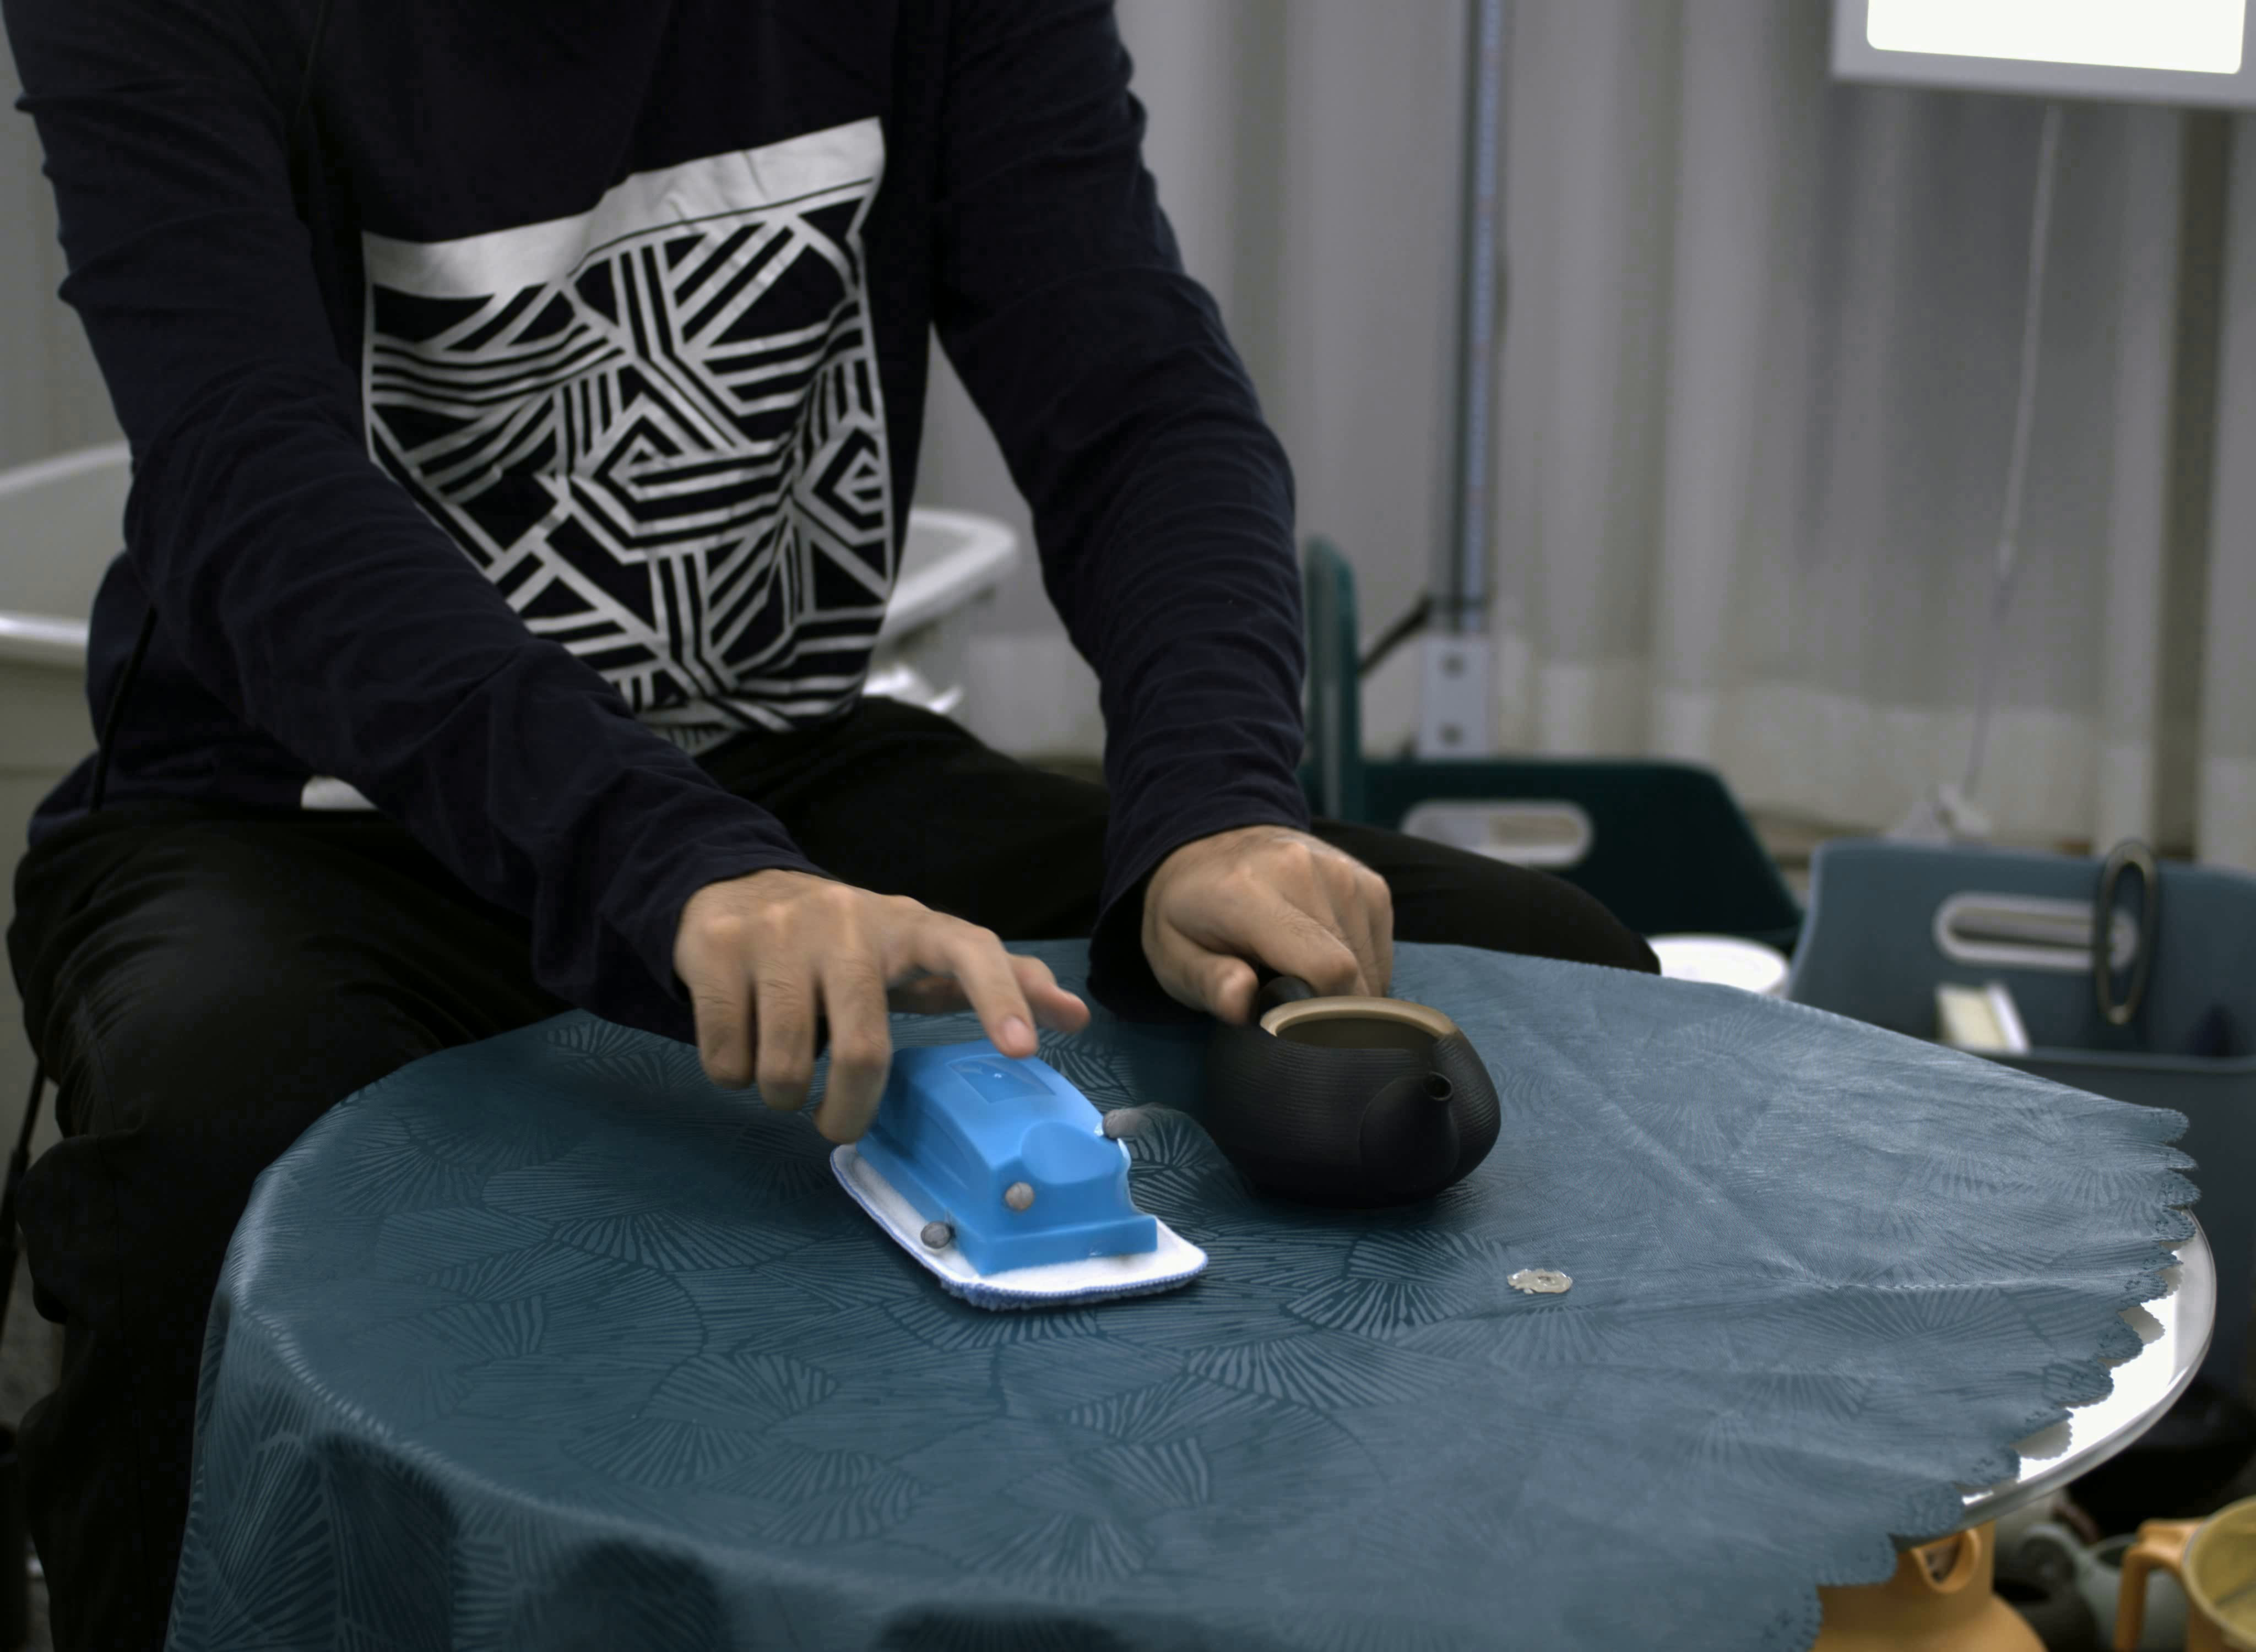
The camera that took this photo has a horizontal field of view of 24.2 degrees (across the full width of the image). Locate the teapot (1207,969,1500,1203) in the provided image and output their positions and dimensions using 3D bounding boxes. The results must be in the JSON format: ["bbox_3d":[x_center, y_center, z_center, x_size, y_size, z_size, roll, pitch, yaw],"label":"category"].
[{"bbox_3d":[0.070,0.083,1.627,0.091,0.053,0.131,-4,17,-21],"label":"teapot"}]

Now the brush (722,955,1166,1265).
[{"bbox_3d":[-0.051,0.081,1.563,0.084,0.056,0.142,-1,26,-44],"label":"brush"}]
